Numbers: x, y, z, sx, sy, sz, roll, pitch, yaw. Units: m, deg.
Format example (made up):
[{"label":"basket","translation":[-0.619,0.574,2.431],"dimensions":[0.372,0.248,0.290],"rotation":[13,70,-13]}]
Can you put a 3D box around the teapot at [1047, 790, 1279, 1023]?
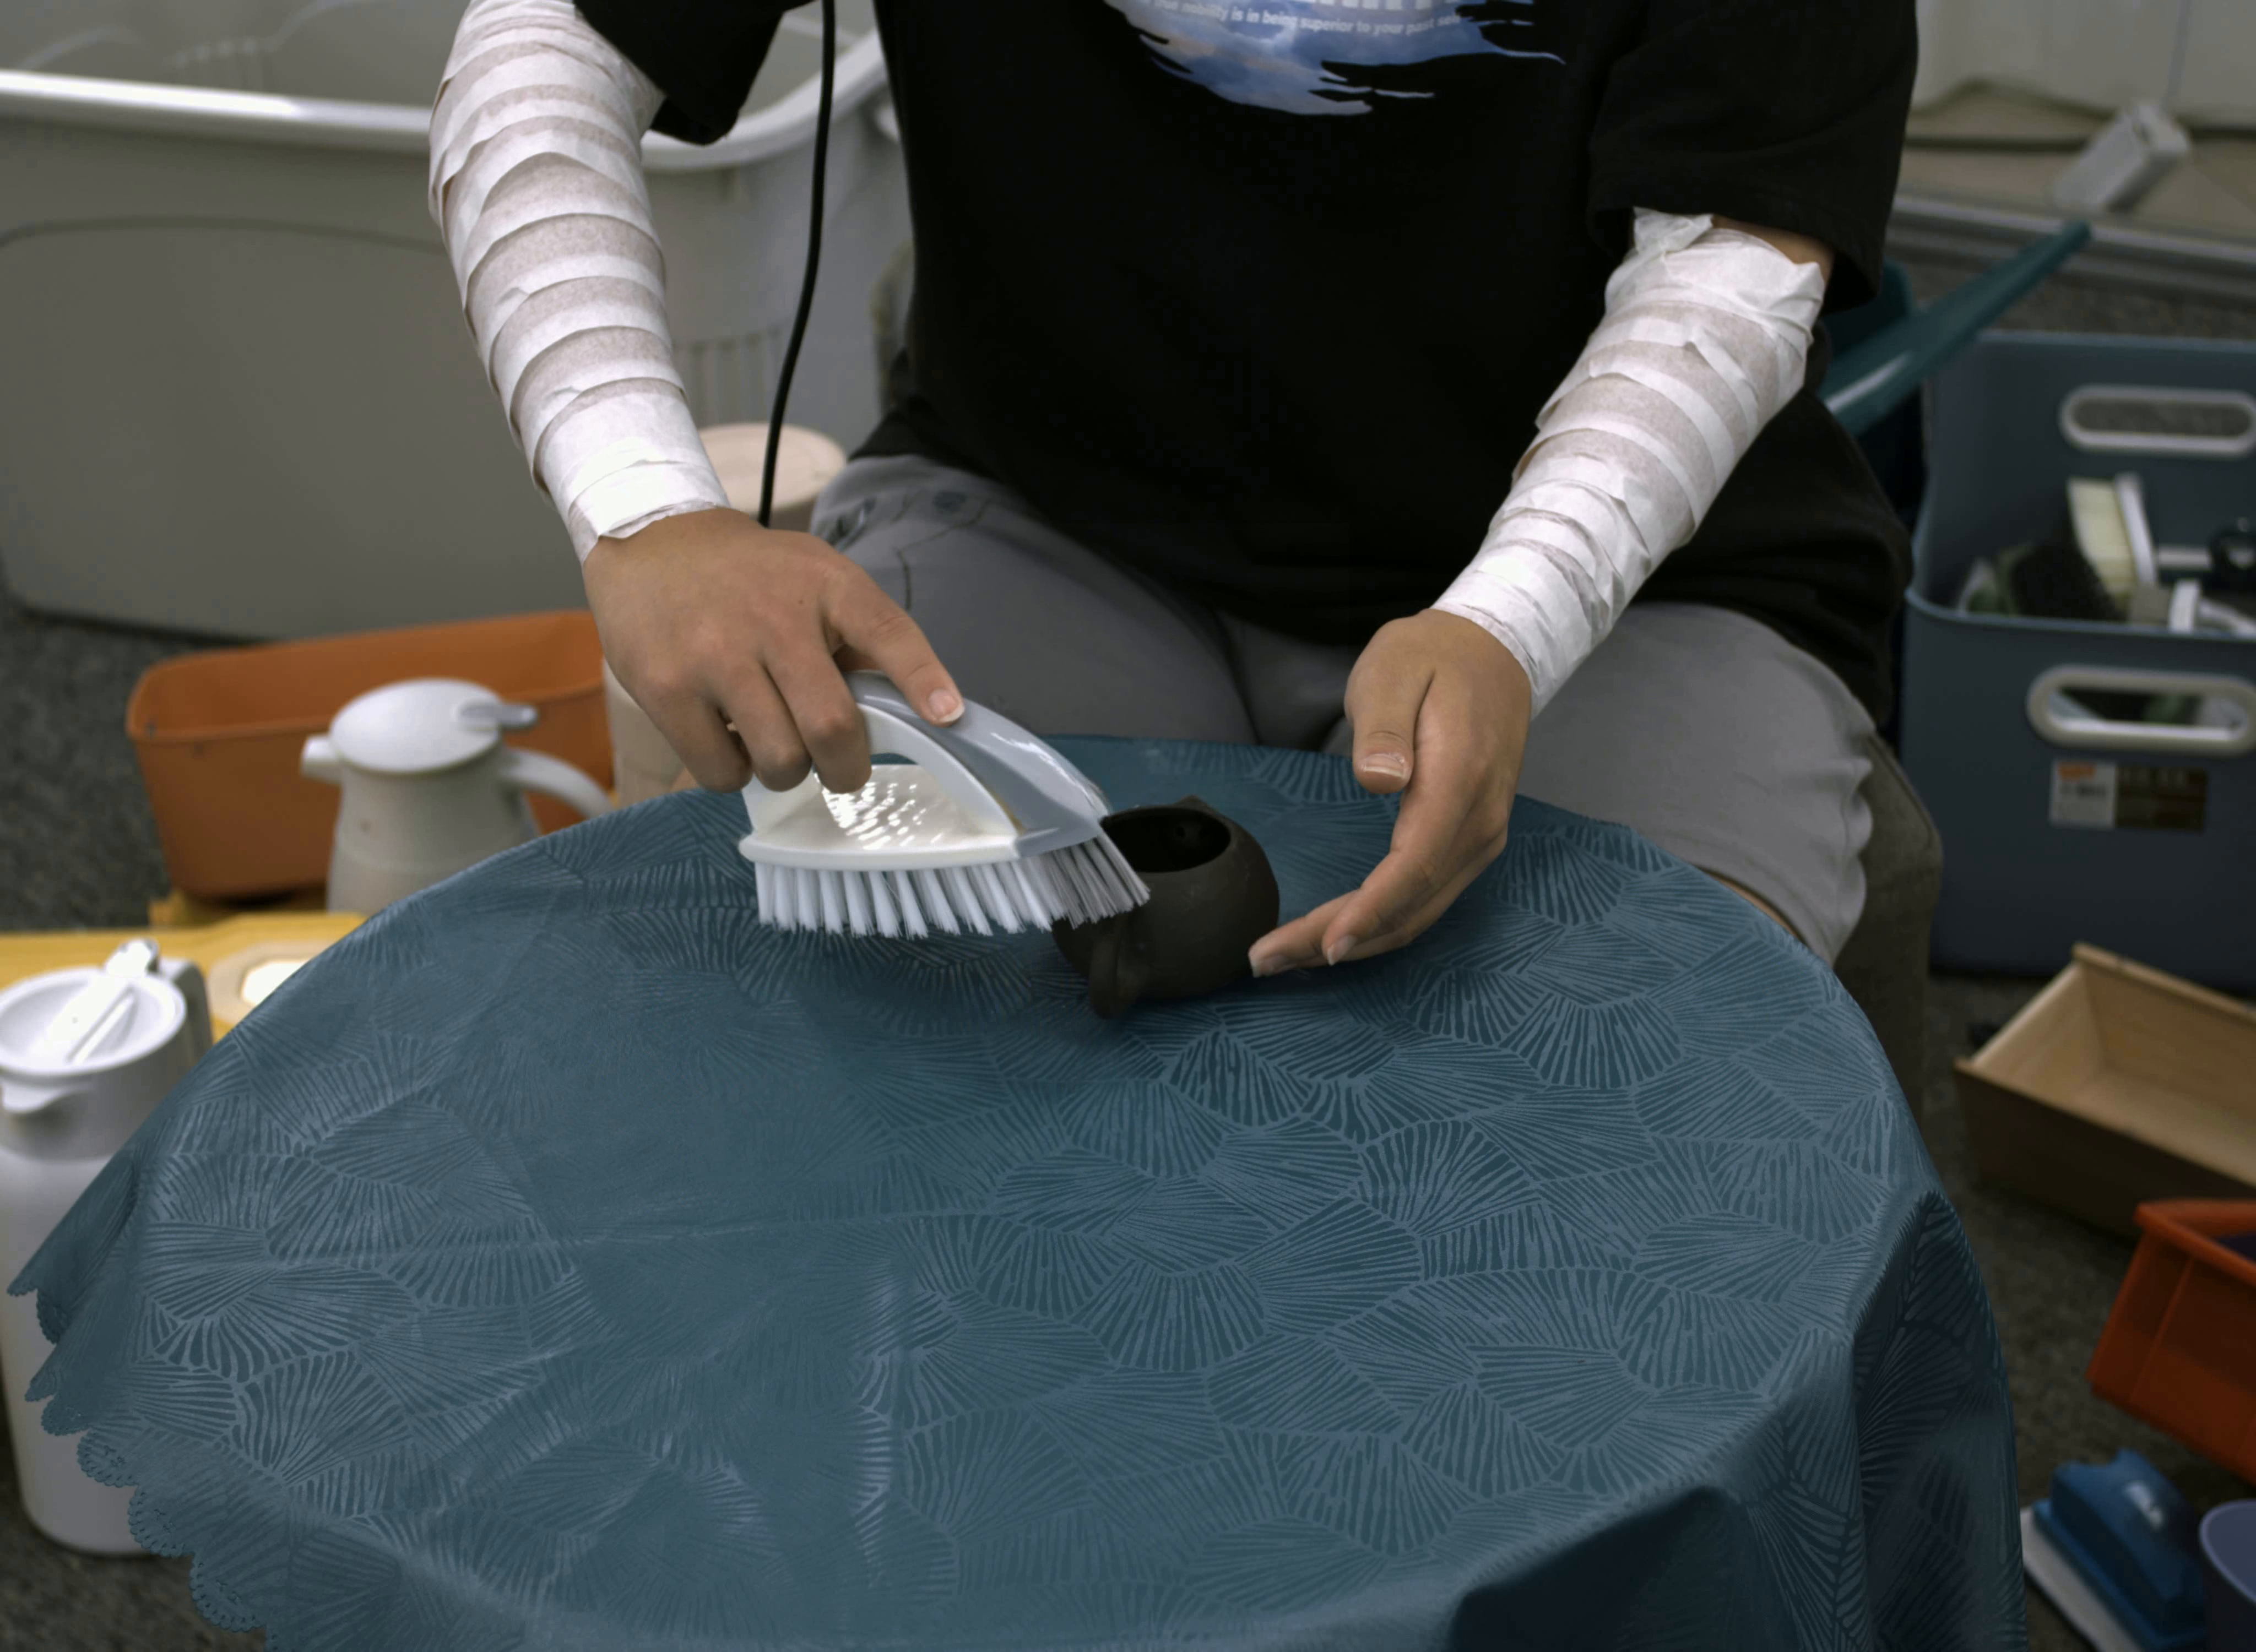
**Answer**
[{"label":"teapot","translation":[0.008,0.032,1.981],"dimensions":[0.082,0.052,0.116],"rotation":[7,27,19]}]

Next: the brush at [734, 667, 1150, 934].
[{"label":"brush","translation":[-0.070,-0.013,1.967],"dimensions":[0.174,0.093,0.062],"rotation":[5,38,44]}]
